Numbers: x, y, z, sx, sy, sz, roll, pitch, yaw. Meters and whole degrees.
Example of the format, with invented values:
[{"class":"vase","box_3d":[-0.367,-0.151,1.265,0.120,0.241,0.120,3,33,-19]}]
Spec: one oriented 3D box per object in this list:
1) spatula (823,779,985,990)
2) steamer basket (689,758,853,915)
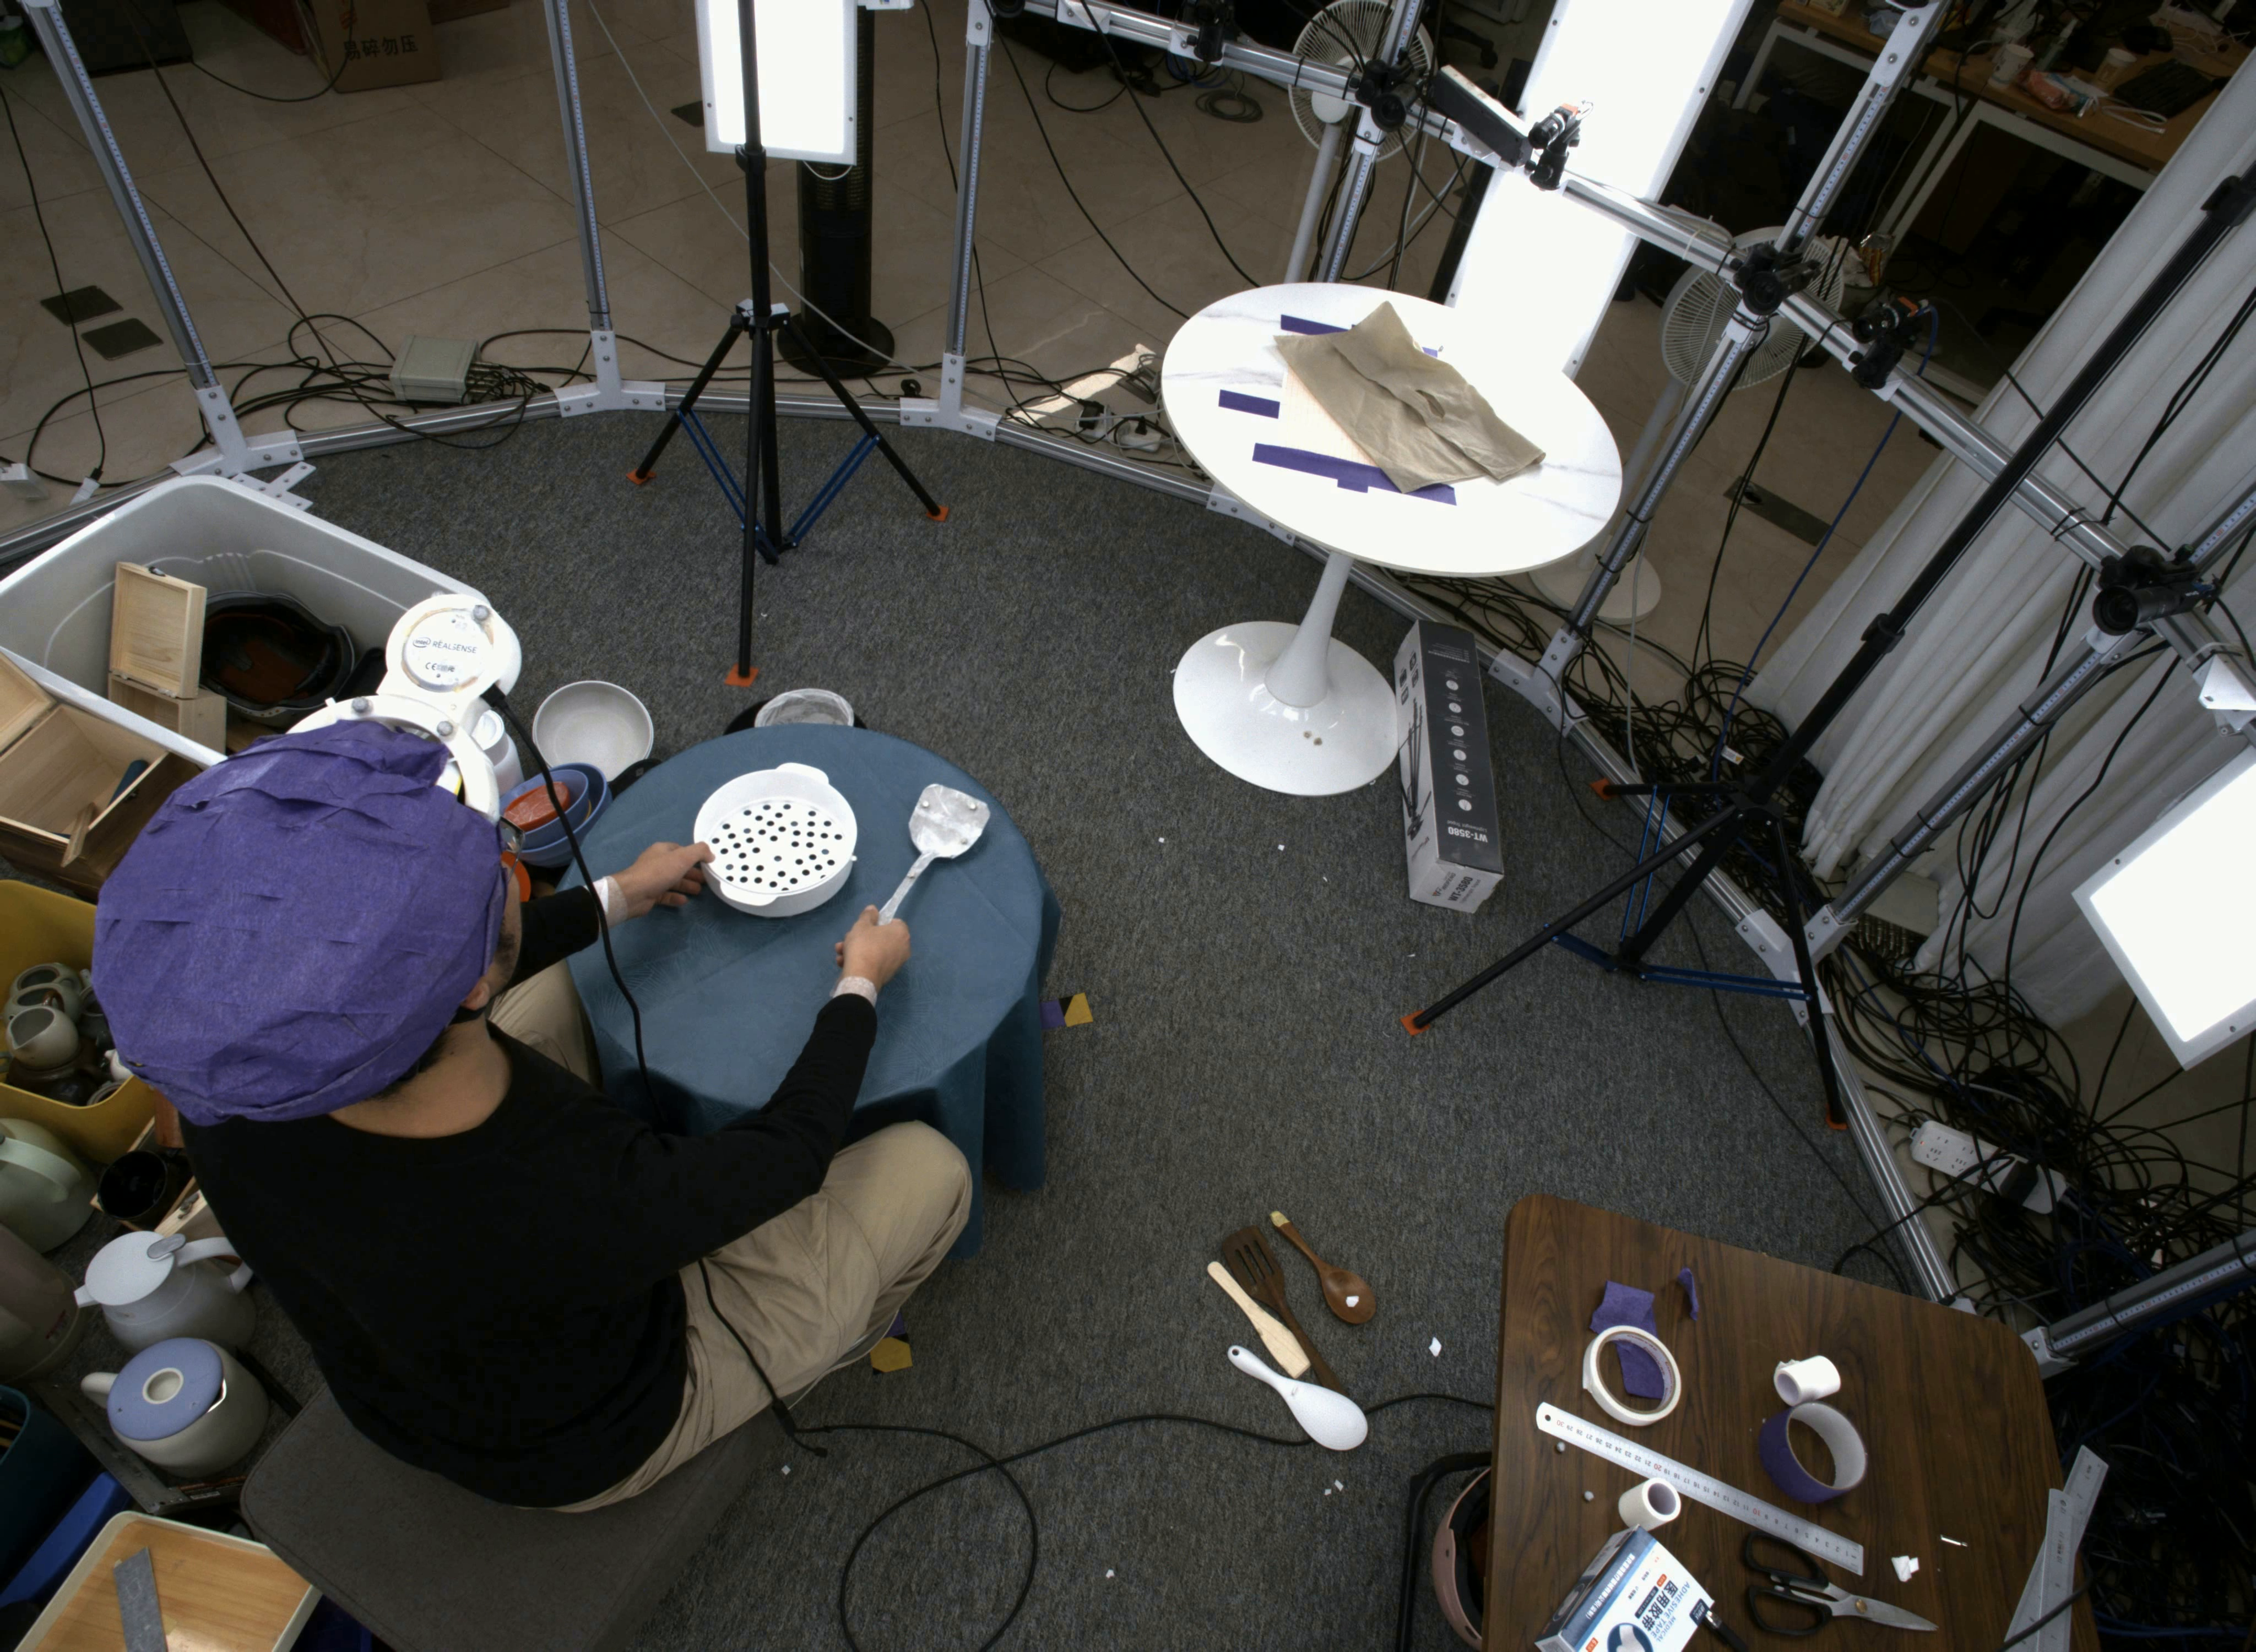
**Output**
[{"class":"spatula","box_3d":[-0.289,0.070,1.639,0.098,0.045,0.361,25,42,2]},{"class":"steamer basket","box_3d":[-0.453,0.018,1.652,0.200,0.070,0.227,15,52,-2]}]
